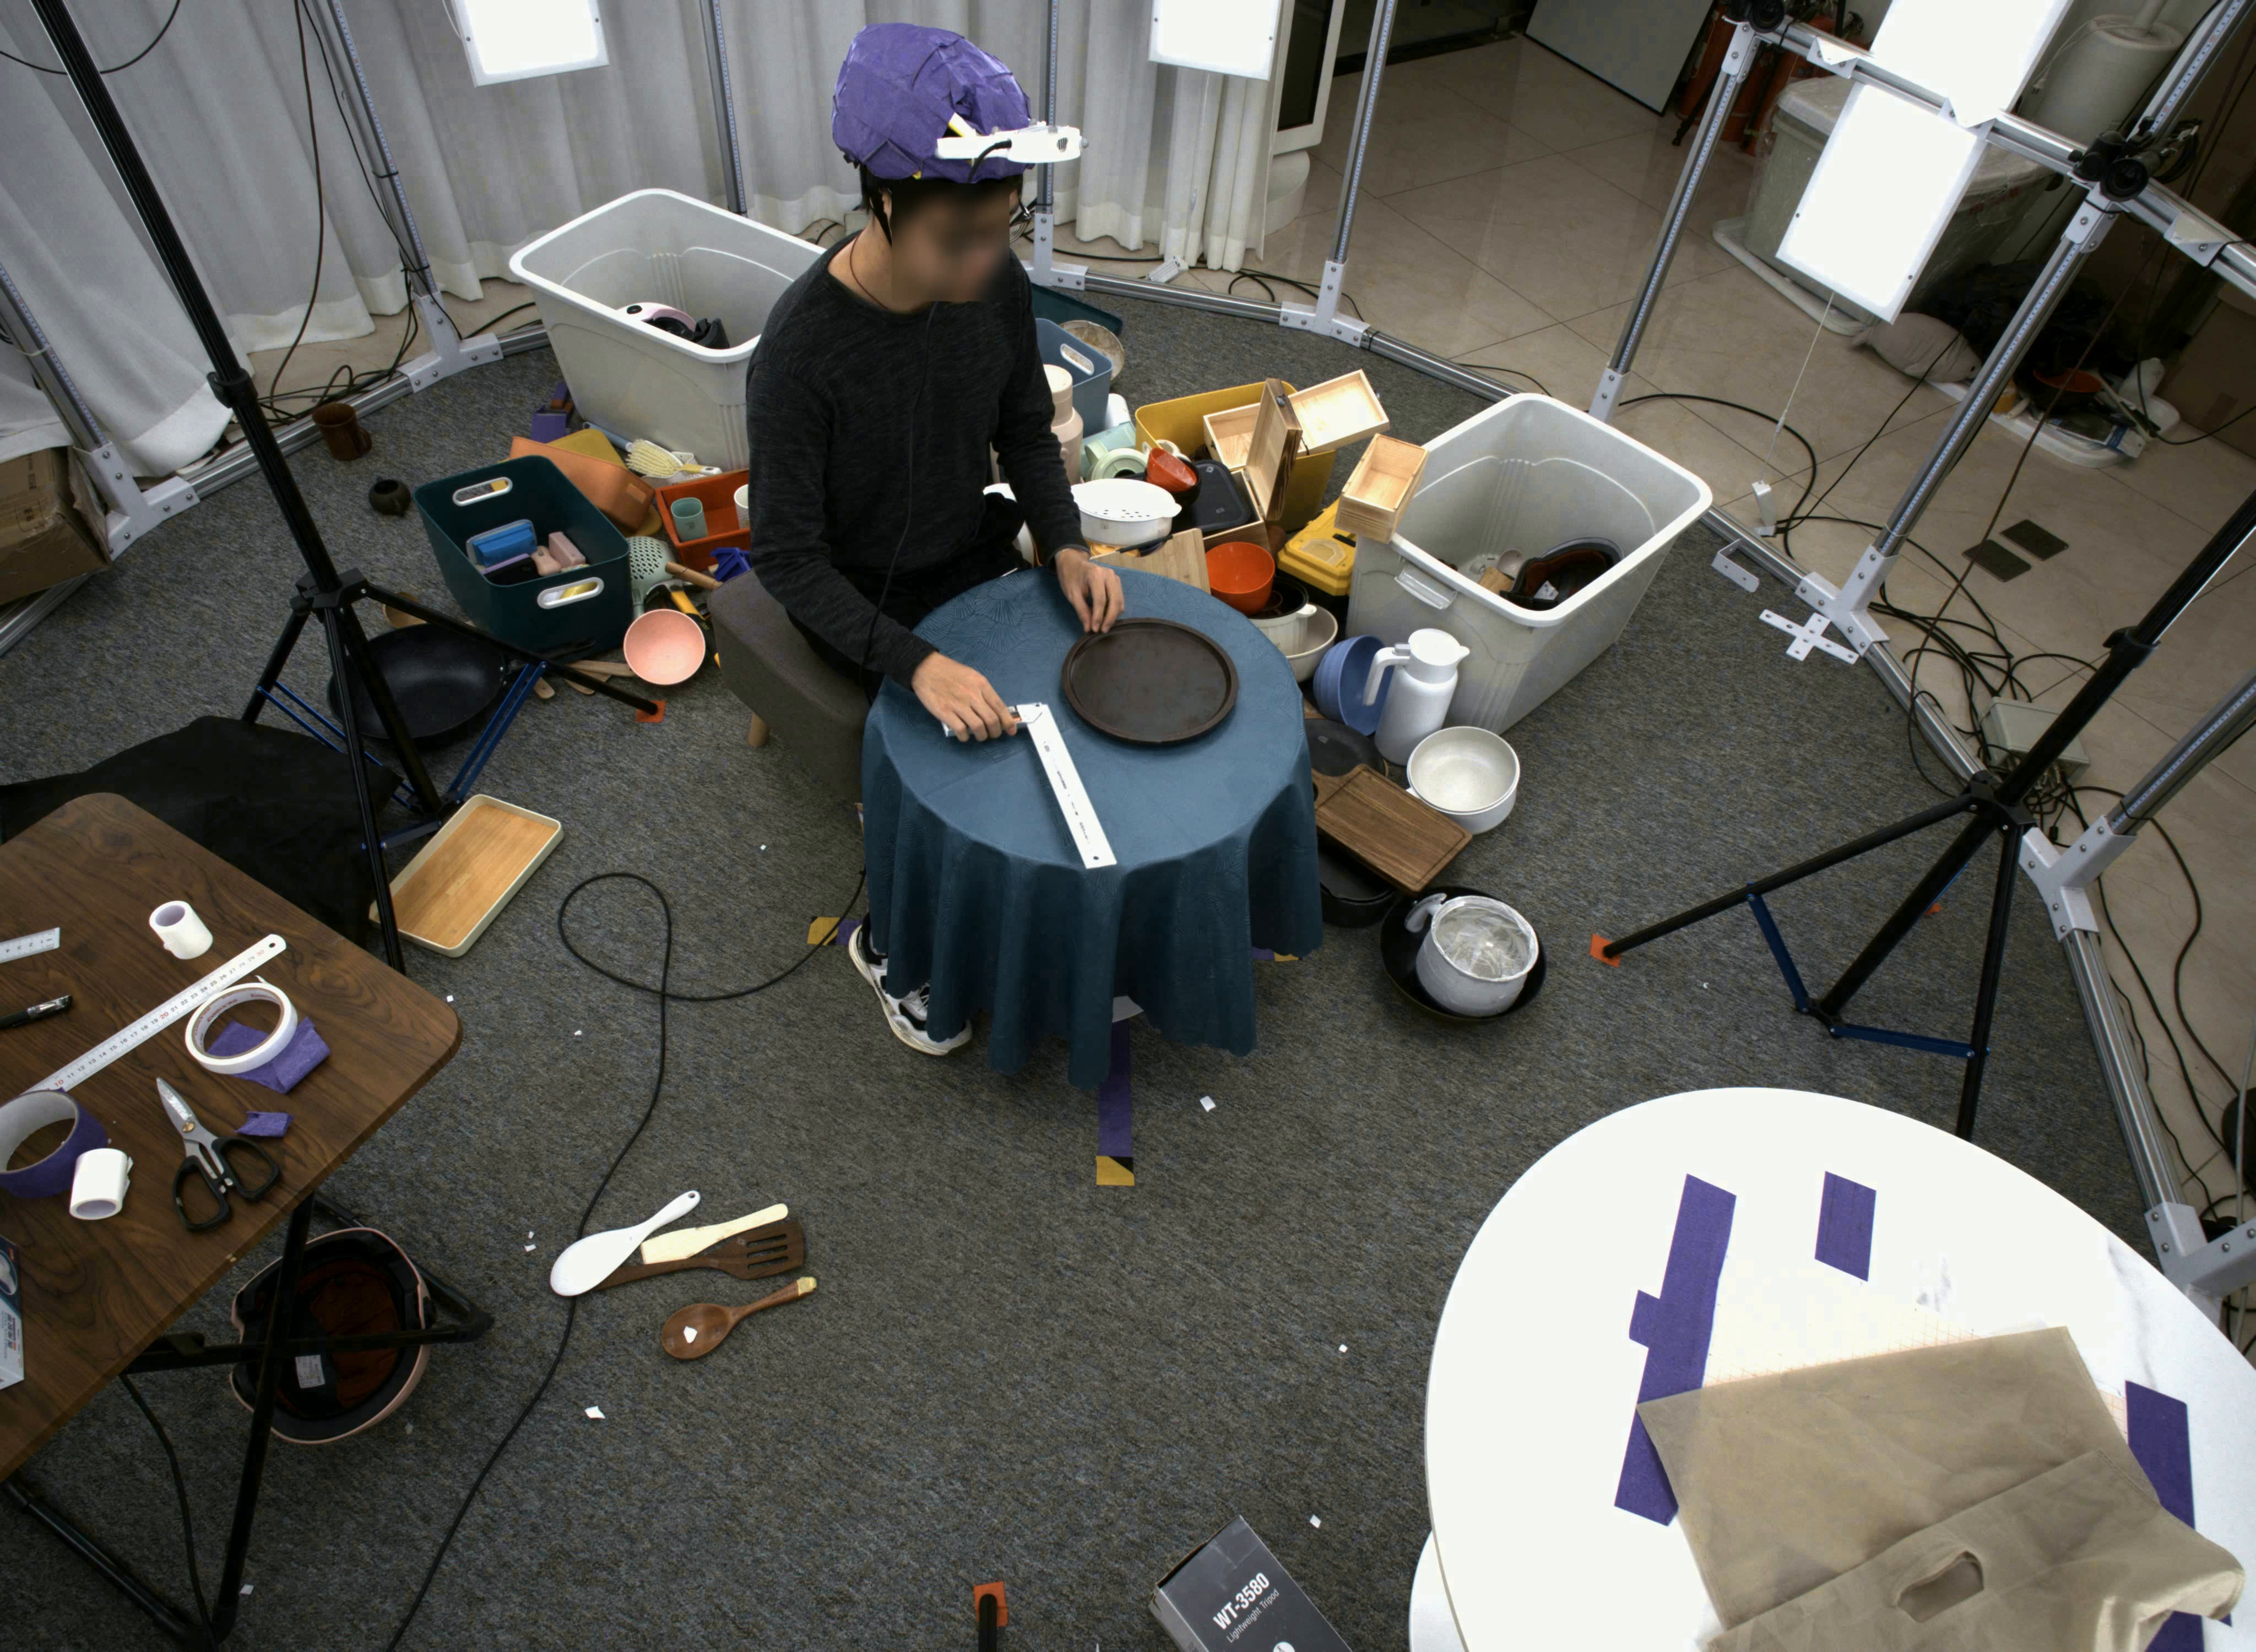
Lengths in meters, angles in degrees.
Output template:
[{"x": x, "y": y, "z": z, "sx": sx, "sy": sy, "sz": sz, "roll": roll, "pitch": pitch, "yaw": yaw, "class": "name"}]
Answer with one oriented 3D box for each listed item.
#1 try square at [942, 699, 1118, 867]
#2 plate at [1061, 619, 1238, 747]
[{"x": -0.133, "y": -0.054, "z": 1.669, "sx": 0.152, "sy": 0.015, "sz": 0.320, "roll": -9, "pitch": 47, "yaw": -17, "class": "try square"}, {"x": 0.031, "y": -0.207, "z": 1.836, "sx": 0.254, "sy": 0.028, "sz": 0.261, "roll": 2, "pitch": 50, "yaw": -2, "class": "plate"}]
